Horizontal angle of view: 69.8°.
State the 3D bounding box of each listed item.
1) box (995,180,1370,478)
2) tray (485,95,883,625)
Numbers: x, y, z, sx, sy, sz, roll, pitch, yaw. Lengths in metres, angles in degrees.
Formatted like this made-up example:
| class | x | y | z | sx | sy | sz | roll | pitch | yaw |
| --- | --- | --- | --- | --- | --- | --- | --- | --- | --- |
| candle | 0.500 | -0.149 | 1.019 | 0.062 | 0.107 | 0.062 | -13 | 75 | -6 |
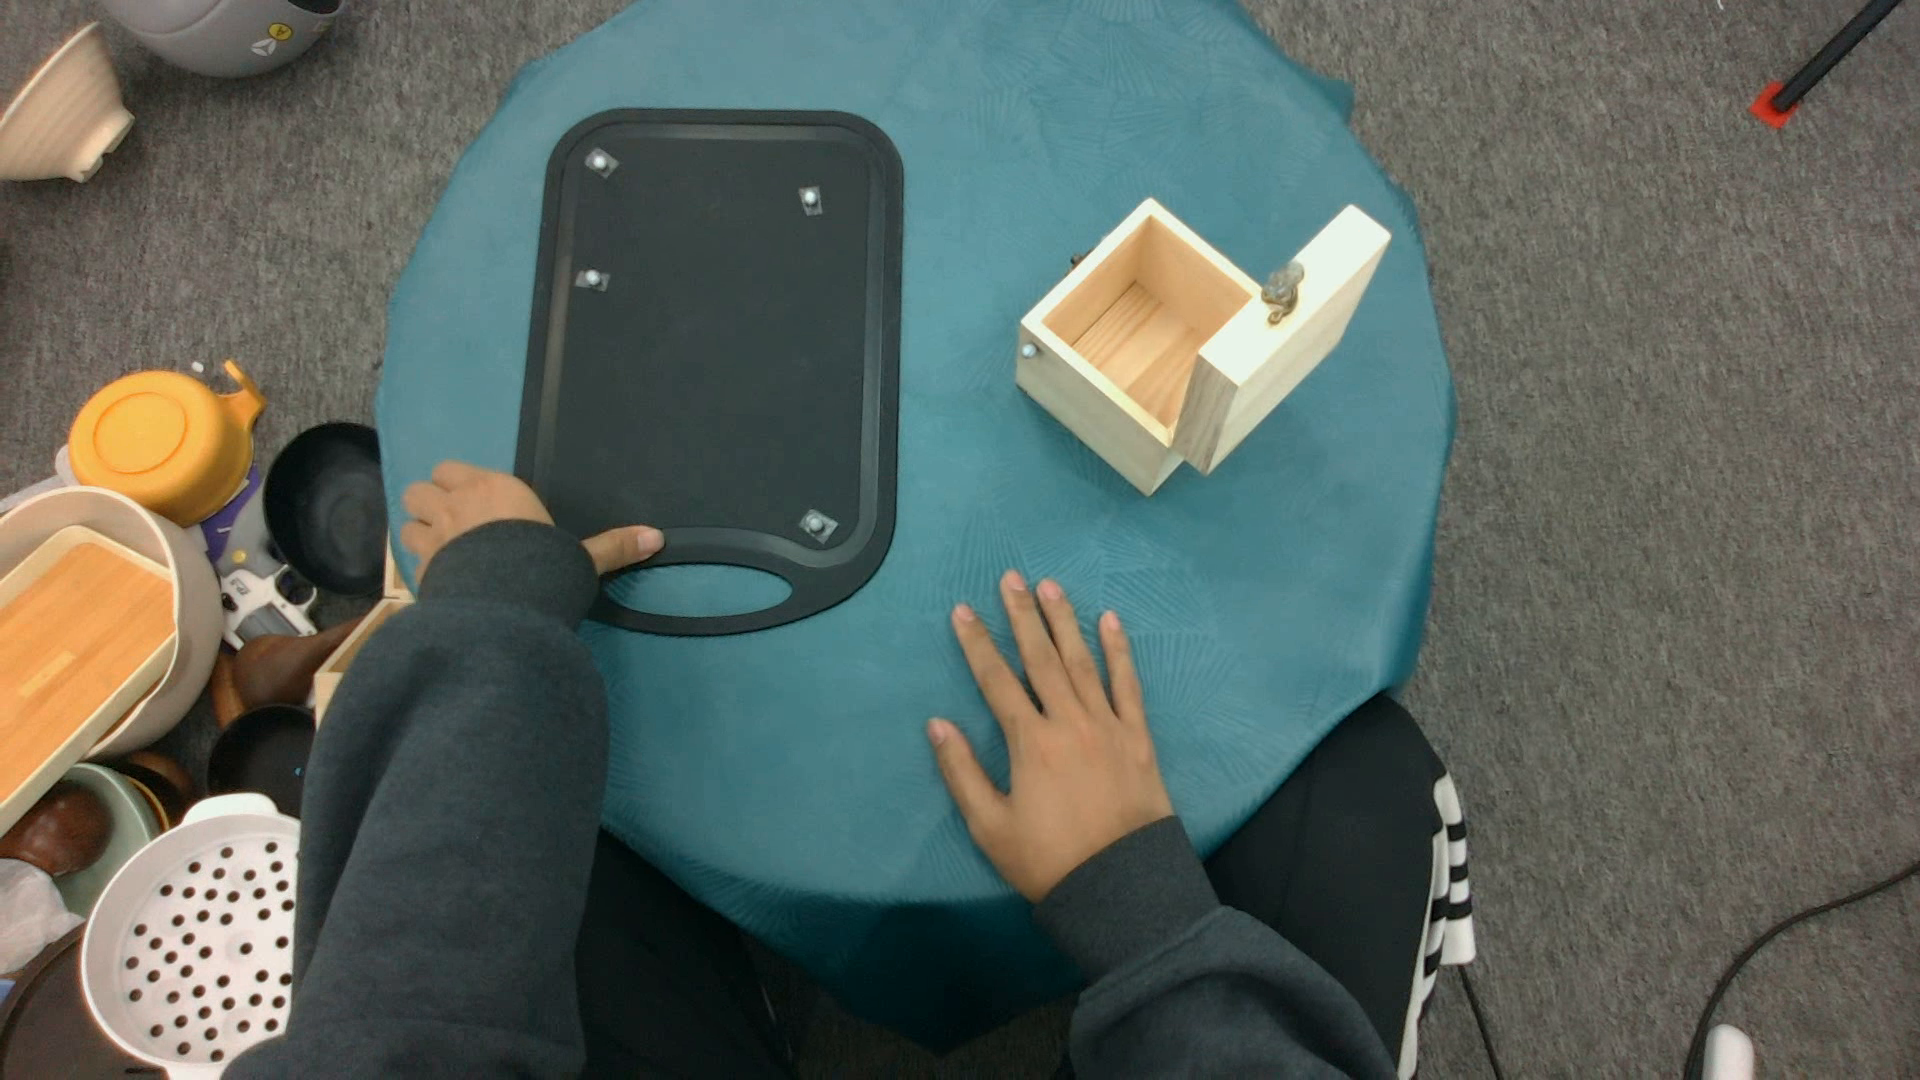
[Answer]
| class | x | y | z | sx | sy | sz | roll | pitch | yaw |
| --- | --- | --- | --- | --- | --- | --- | --- | --- | --- |
| box | 0.099 | -0.121 | 0.687 | 0.134 | 0.184 | 0.103 | 41 | 76 | 10 |
| tray | -0.151 | -0.111 | 0.773 | 0.211 | 0.010 | 0.326 | 1 | 72 | 0 |
